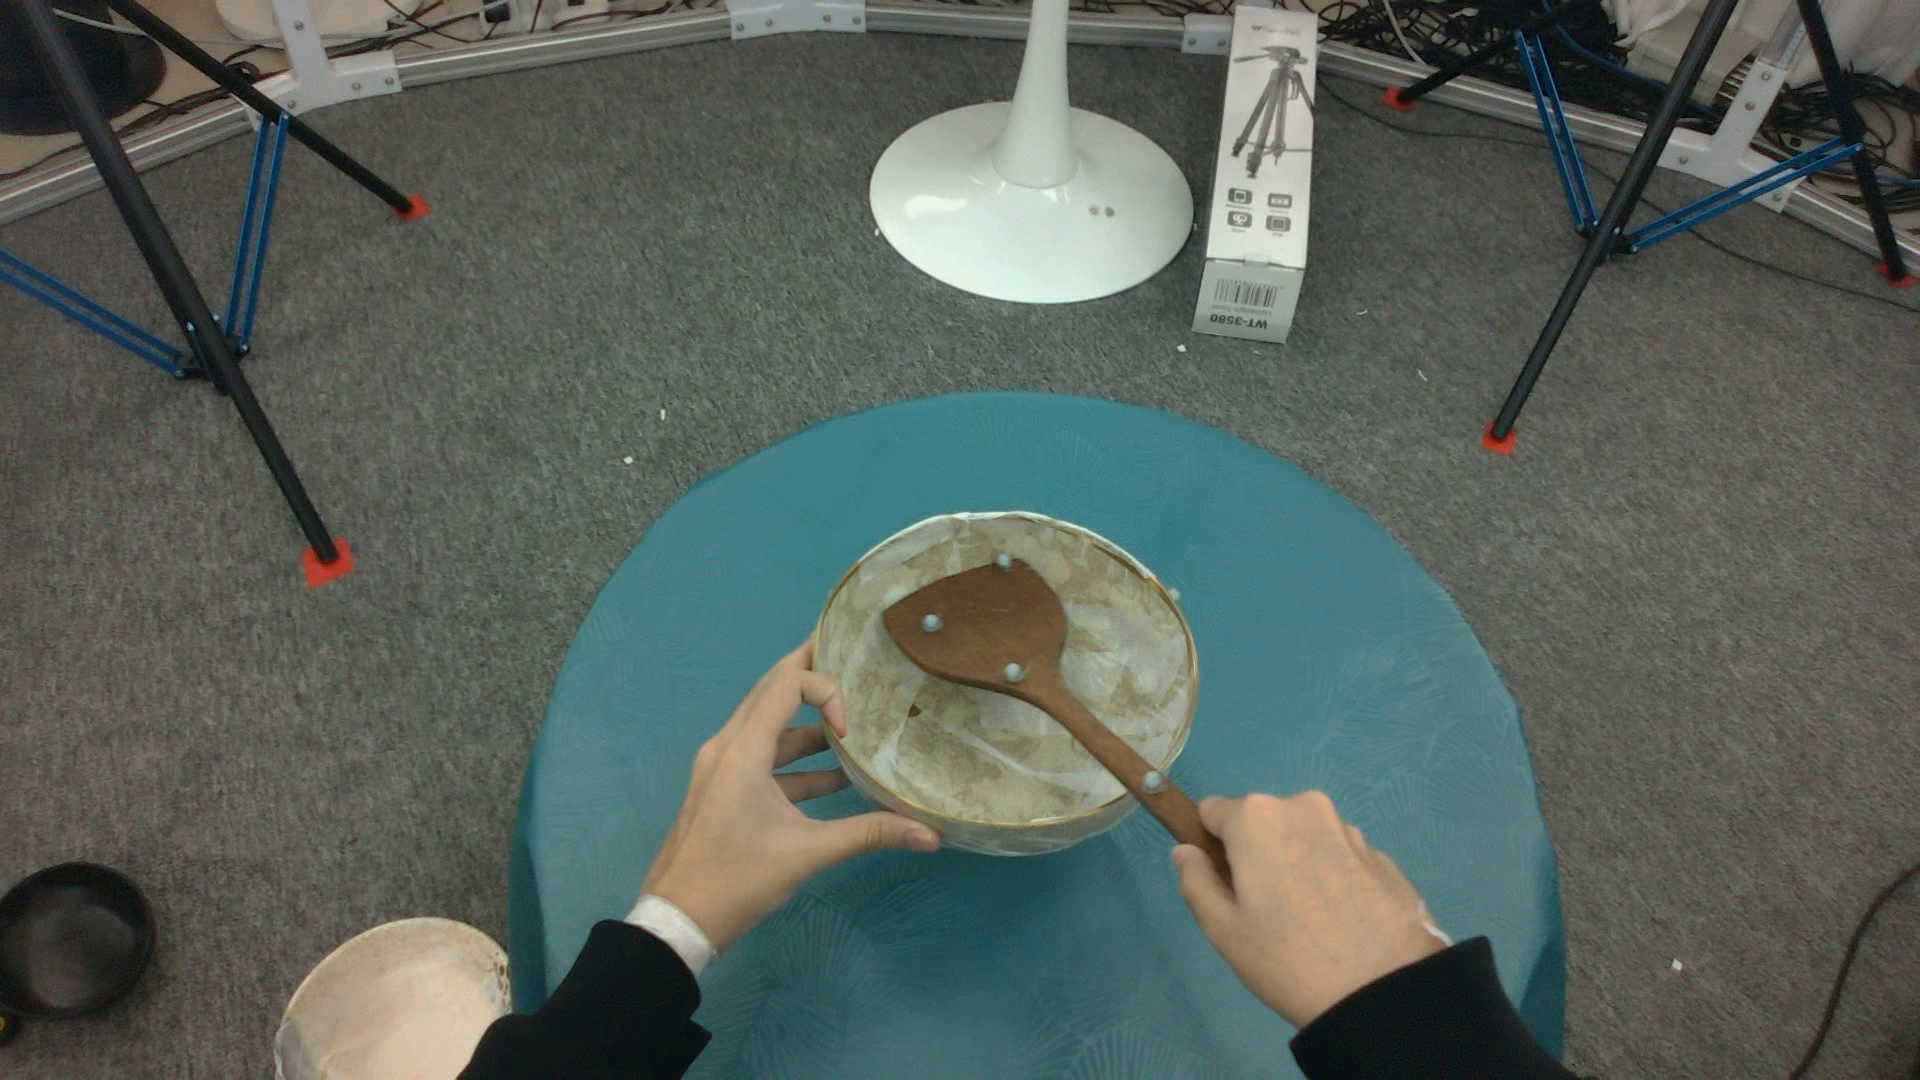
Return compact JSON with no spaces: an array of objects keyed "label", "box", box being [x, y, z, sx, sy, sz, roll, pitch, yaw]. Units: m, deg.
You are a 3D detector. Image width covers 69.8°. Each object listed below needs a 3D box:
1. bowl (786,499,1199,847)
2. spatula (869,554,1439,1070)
[{"label":"bowl","box":[0.014,0.084,0.734,0.215,0.094,0.215,3,49,-3]},{"label":"spatula","box":[0.076,0.103,0.640,0.096,0.016,0.386,-21,34,-21]}]
